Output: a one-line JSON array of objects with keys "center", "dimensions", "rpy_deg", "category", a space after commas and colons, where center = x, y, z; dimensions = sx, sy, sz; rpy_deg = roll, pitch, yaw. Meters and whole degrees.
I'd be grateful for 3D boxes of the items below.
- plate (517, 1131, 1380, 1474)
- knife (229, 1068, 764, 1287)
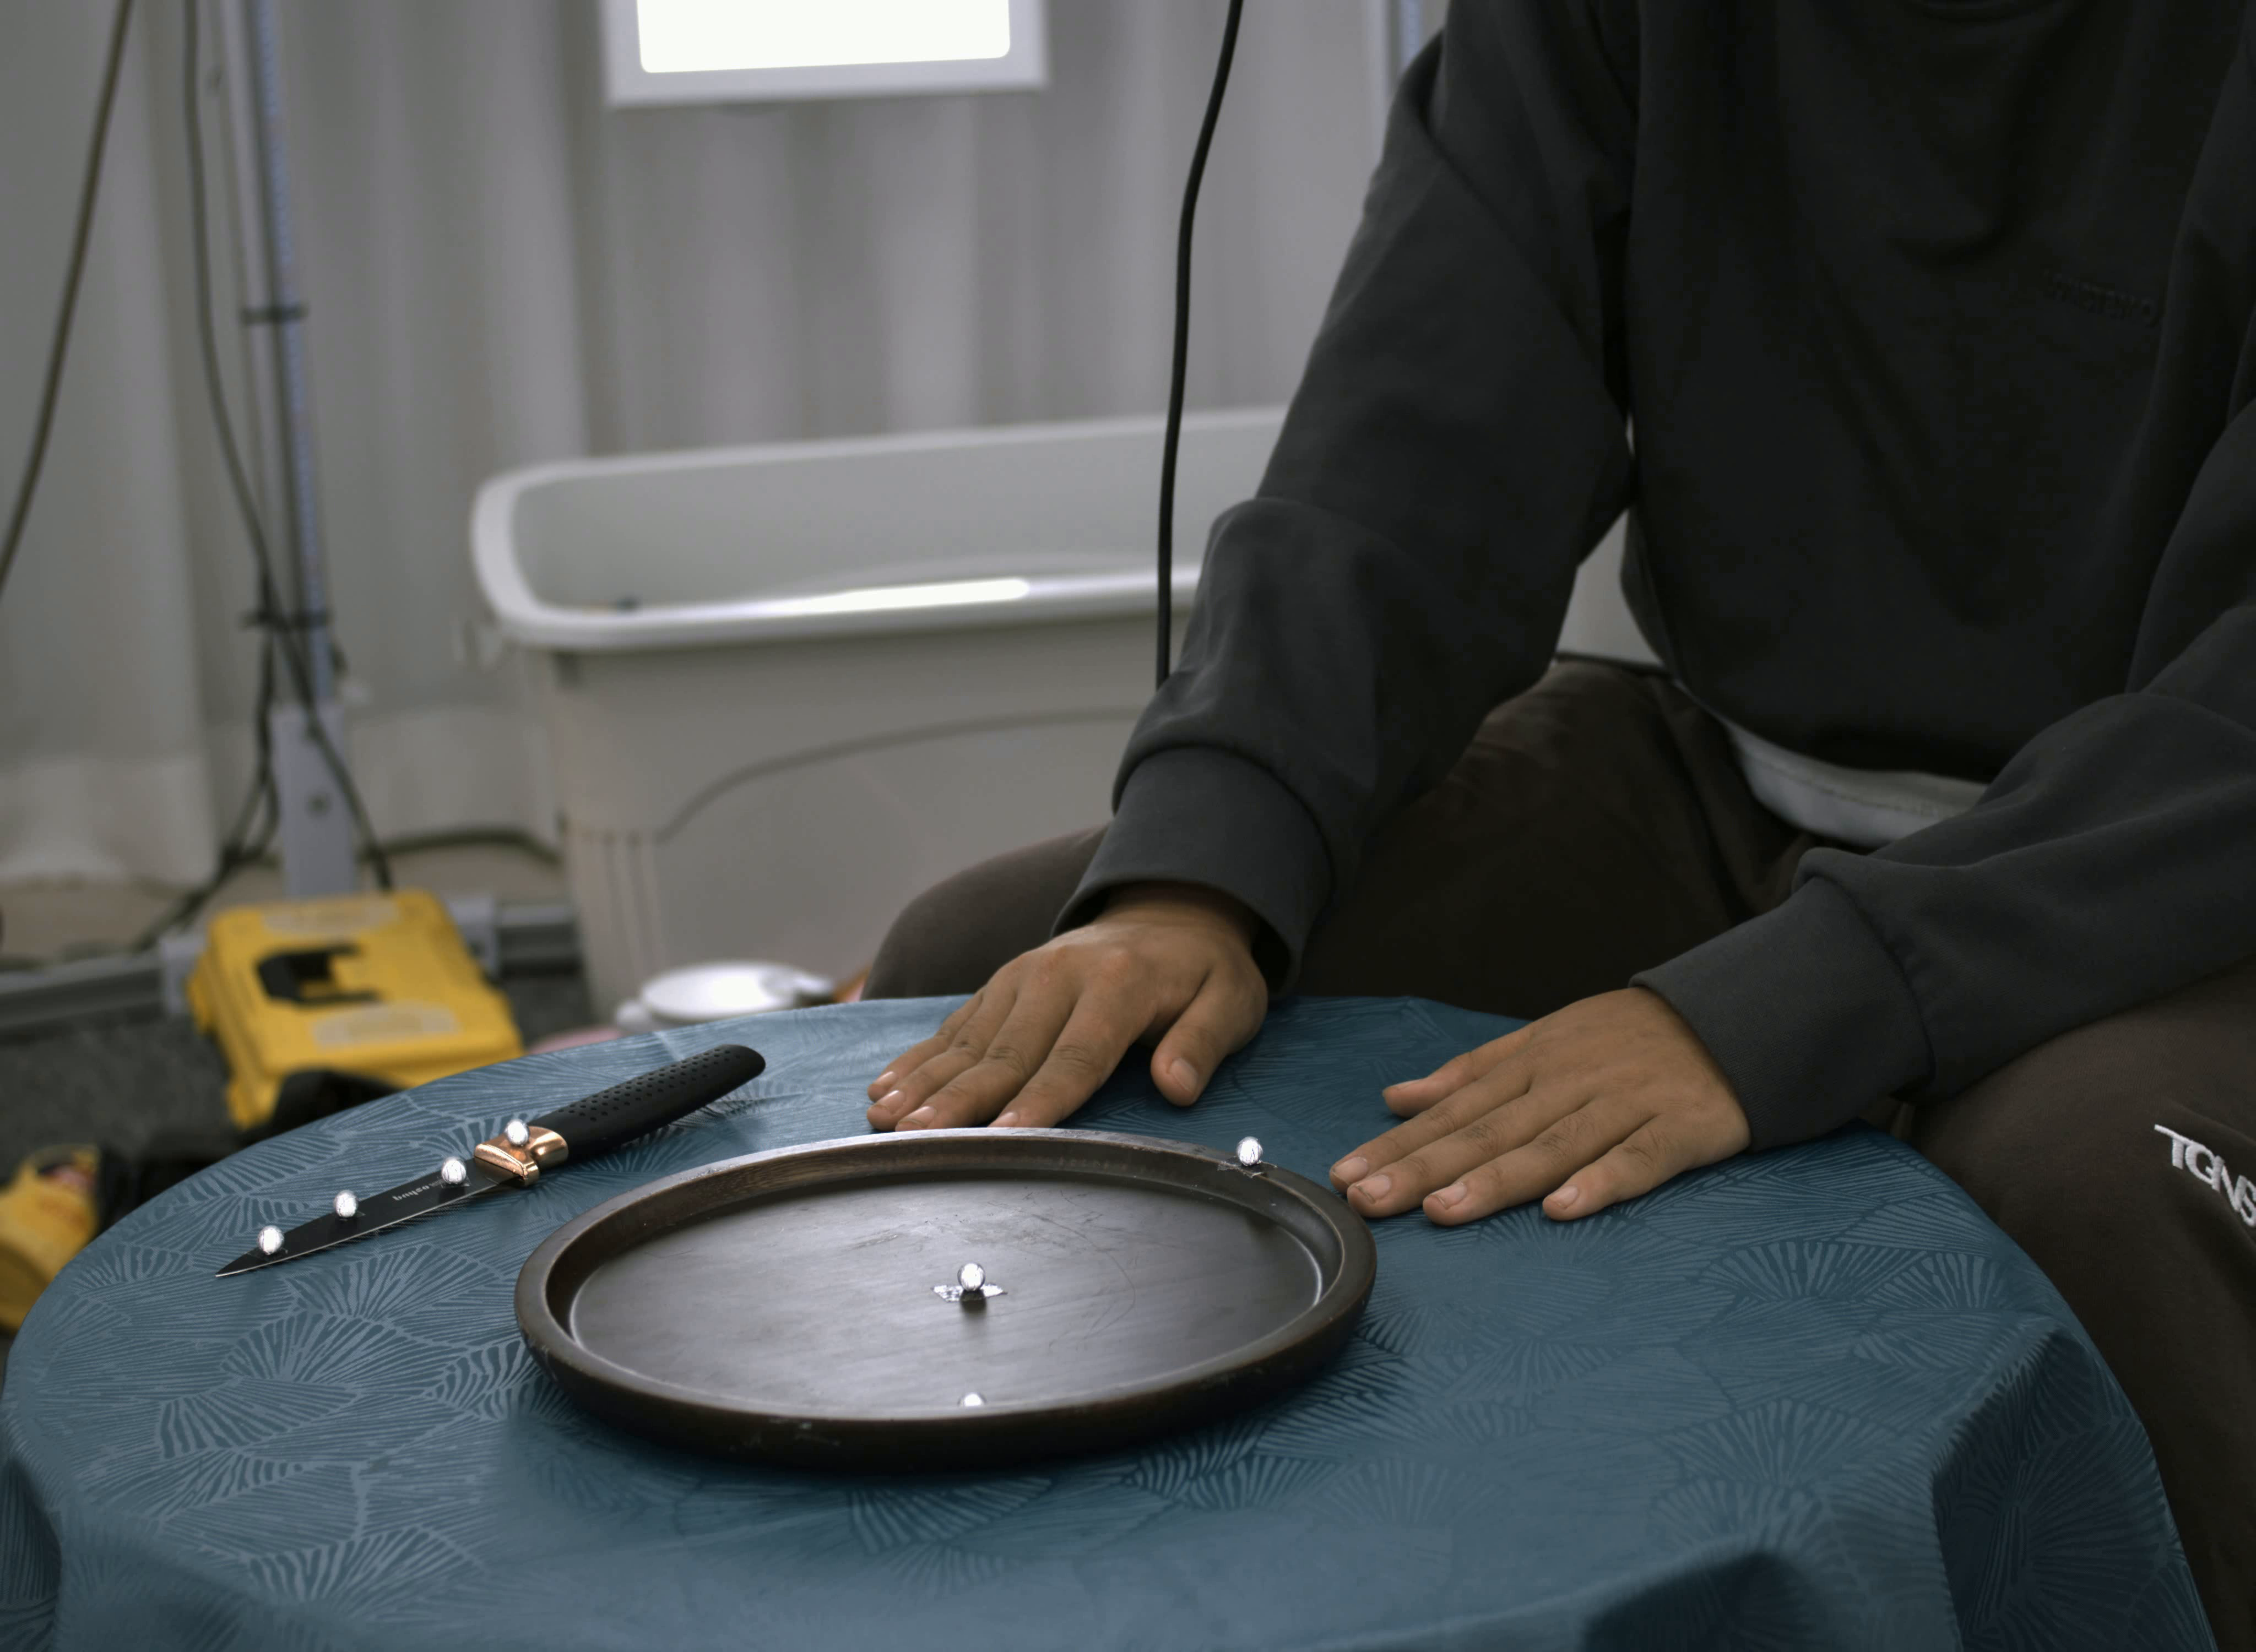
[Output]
[{"center": [-0.052, 0.137, 1.598], "dimensions": [0.254, 0.029, 0.256], "rpy_deg": [-3, 13, 0], "category": "plate"}, {"center": [-0.200, 0.112, 1.744], "dimensions": [0.026, 0.017, 0.225], "rpy_deg": [18, 25, 40], "category": "knife"}]
